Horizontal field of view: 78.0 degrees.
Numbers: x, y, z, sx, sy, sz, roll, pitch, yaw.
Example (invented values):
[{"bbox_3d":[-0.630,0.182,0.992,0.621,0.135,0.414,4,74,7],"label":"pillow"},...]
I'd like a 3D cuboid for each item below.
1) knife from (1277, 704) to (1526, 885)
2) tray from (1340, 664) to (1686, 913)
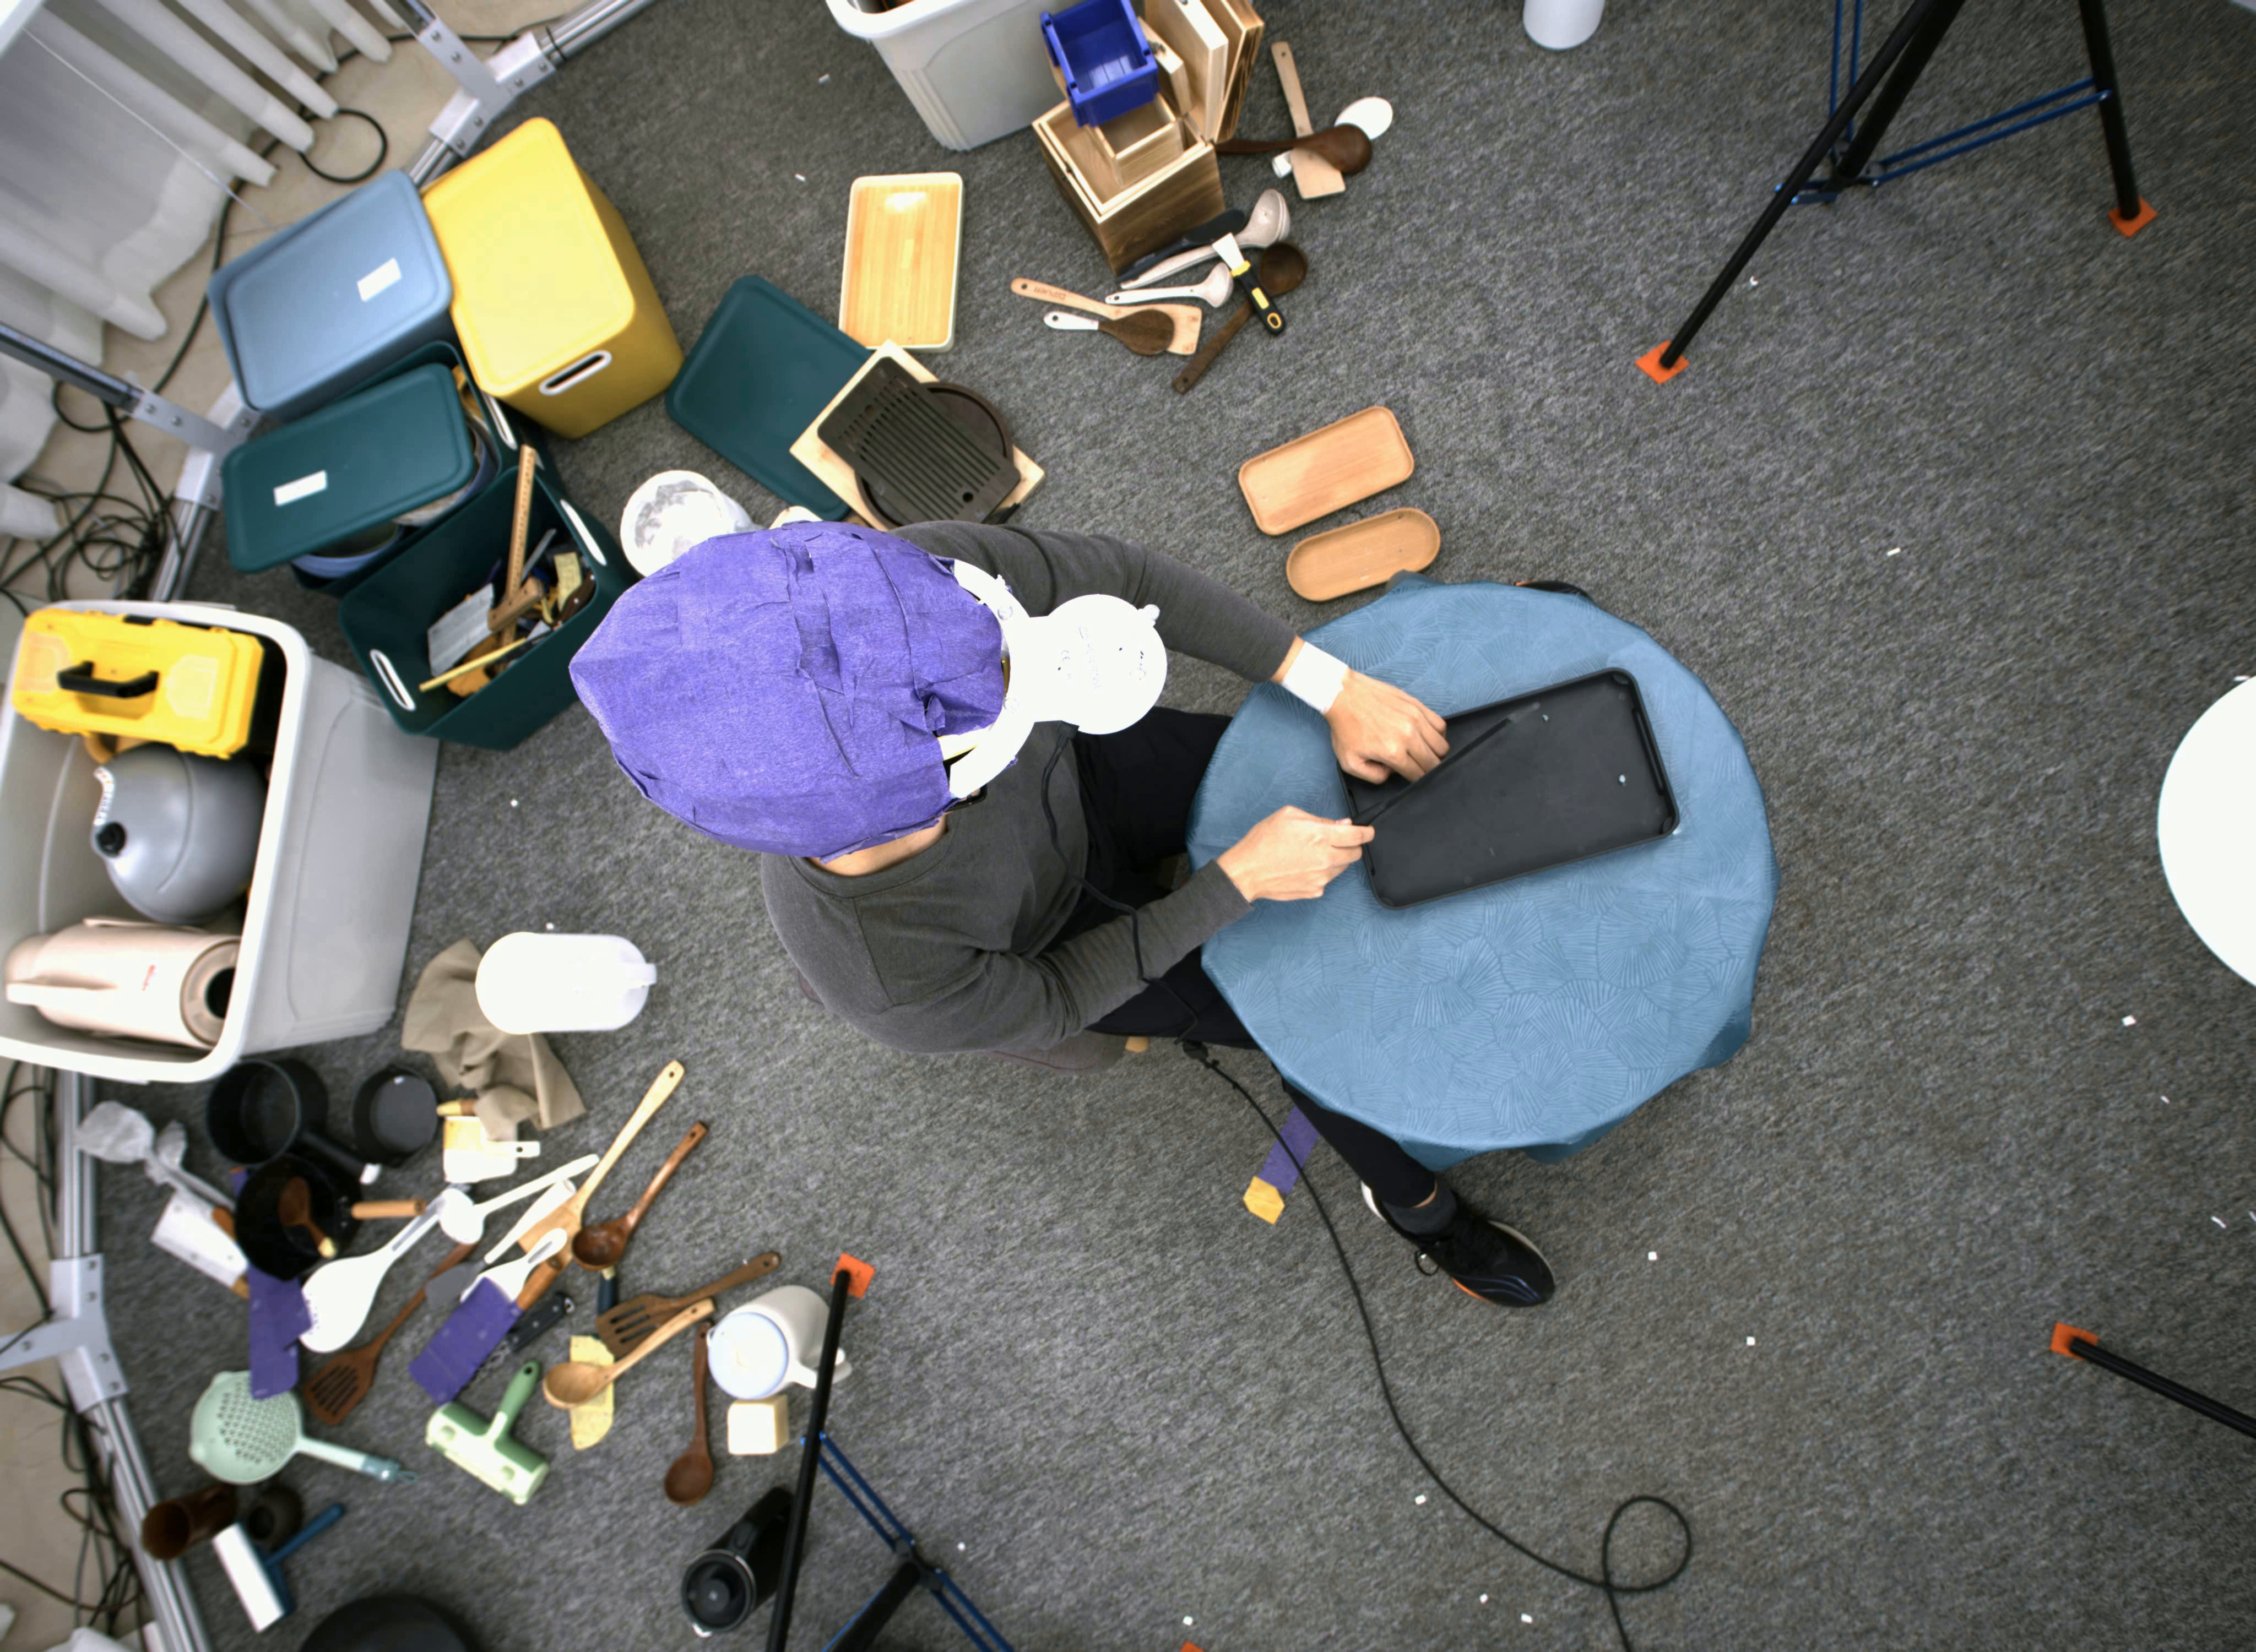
[{"bbox_3d":[0.277,-0.033,1.392,0.304,0.081,0.020,-35,78,6],"label":"knife"},{"bbox_3d":[0.395,-0.039,1.424,0.320,0.037,0.183,-18,83,9],"label":"tray"}]
